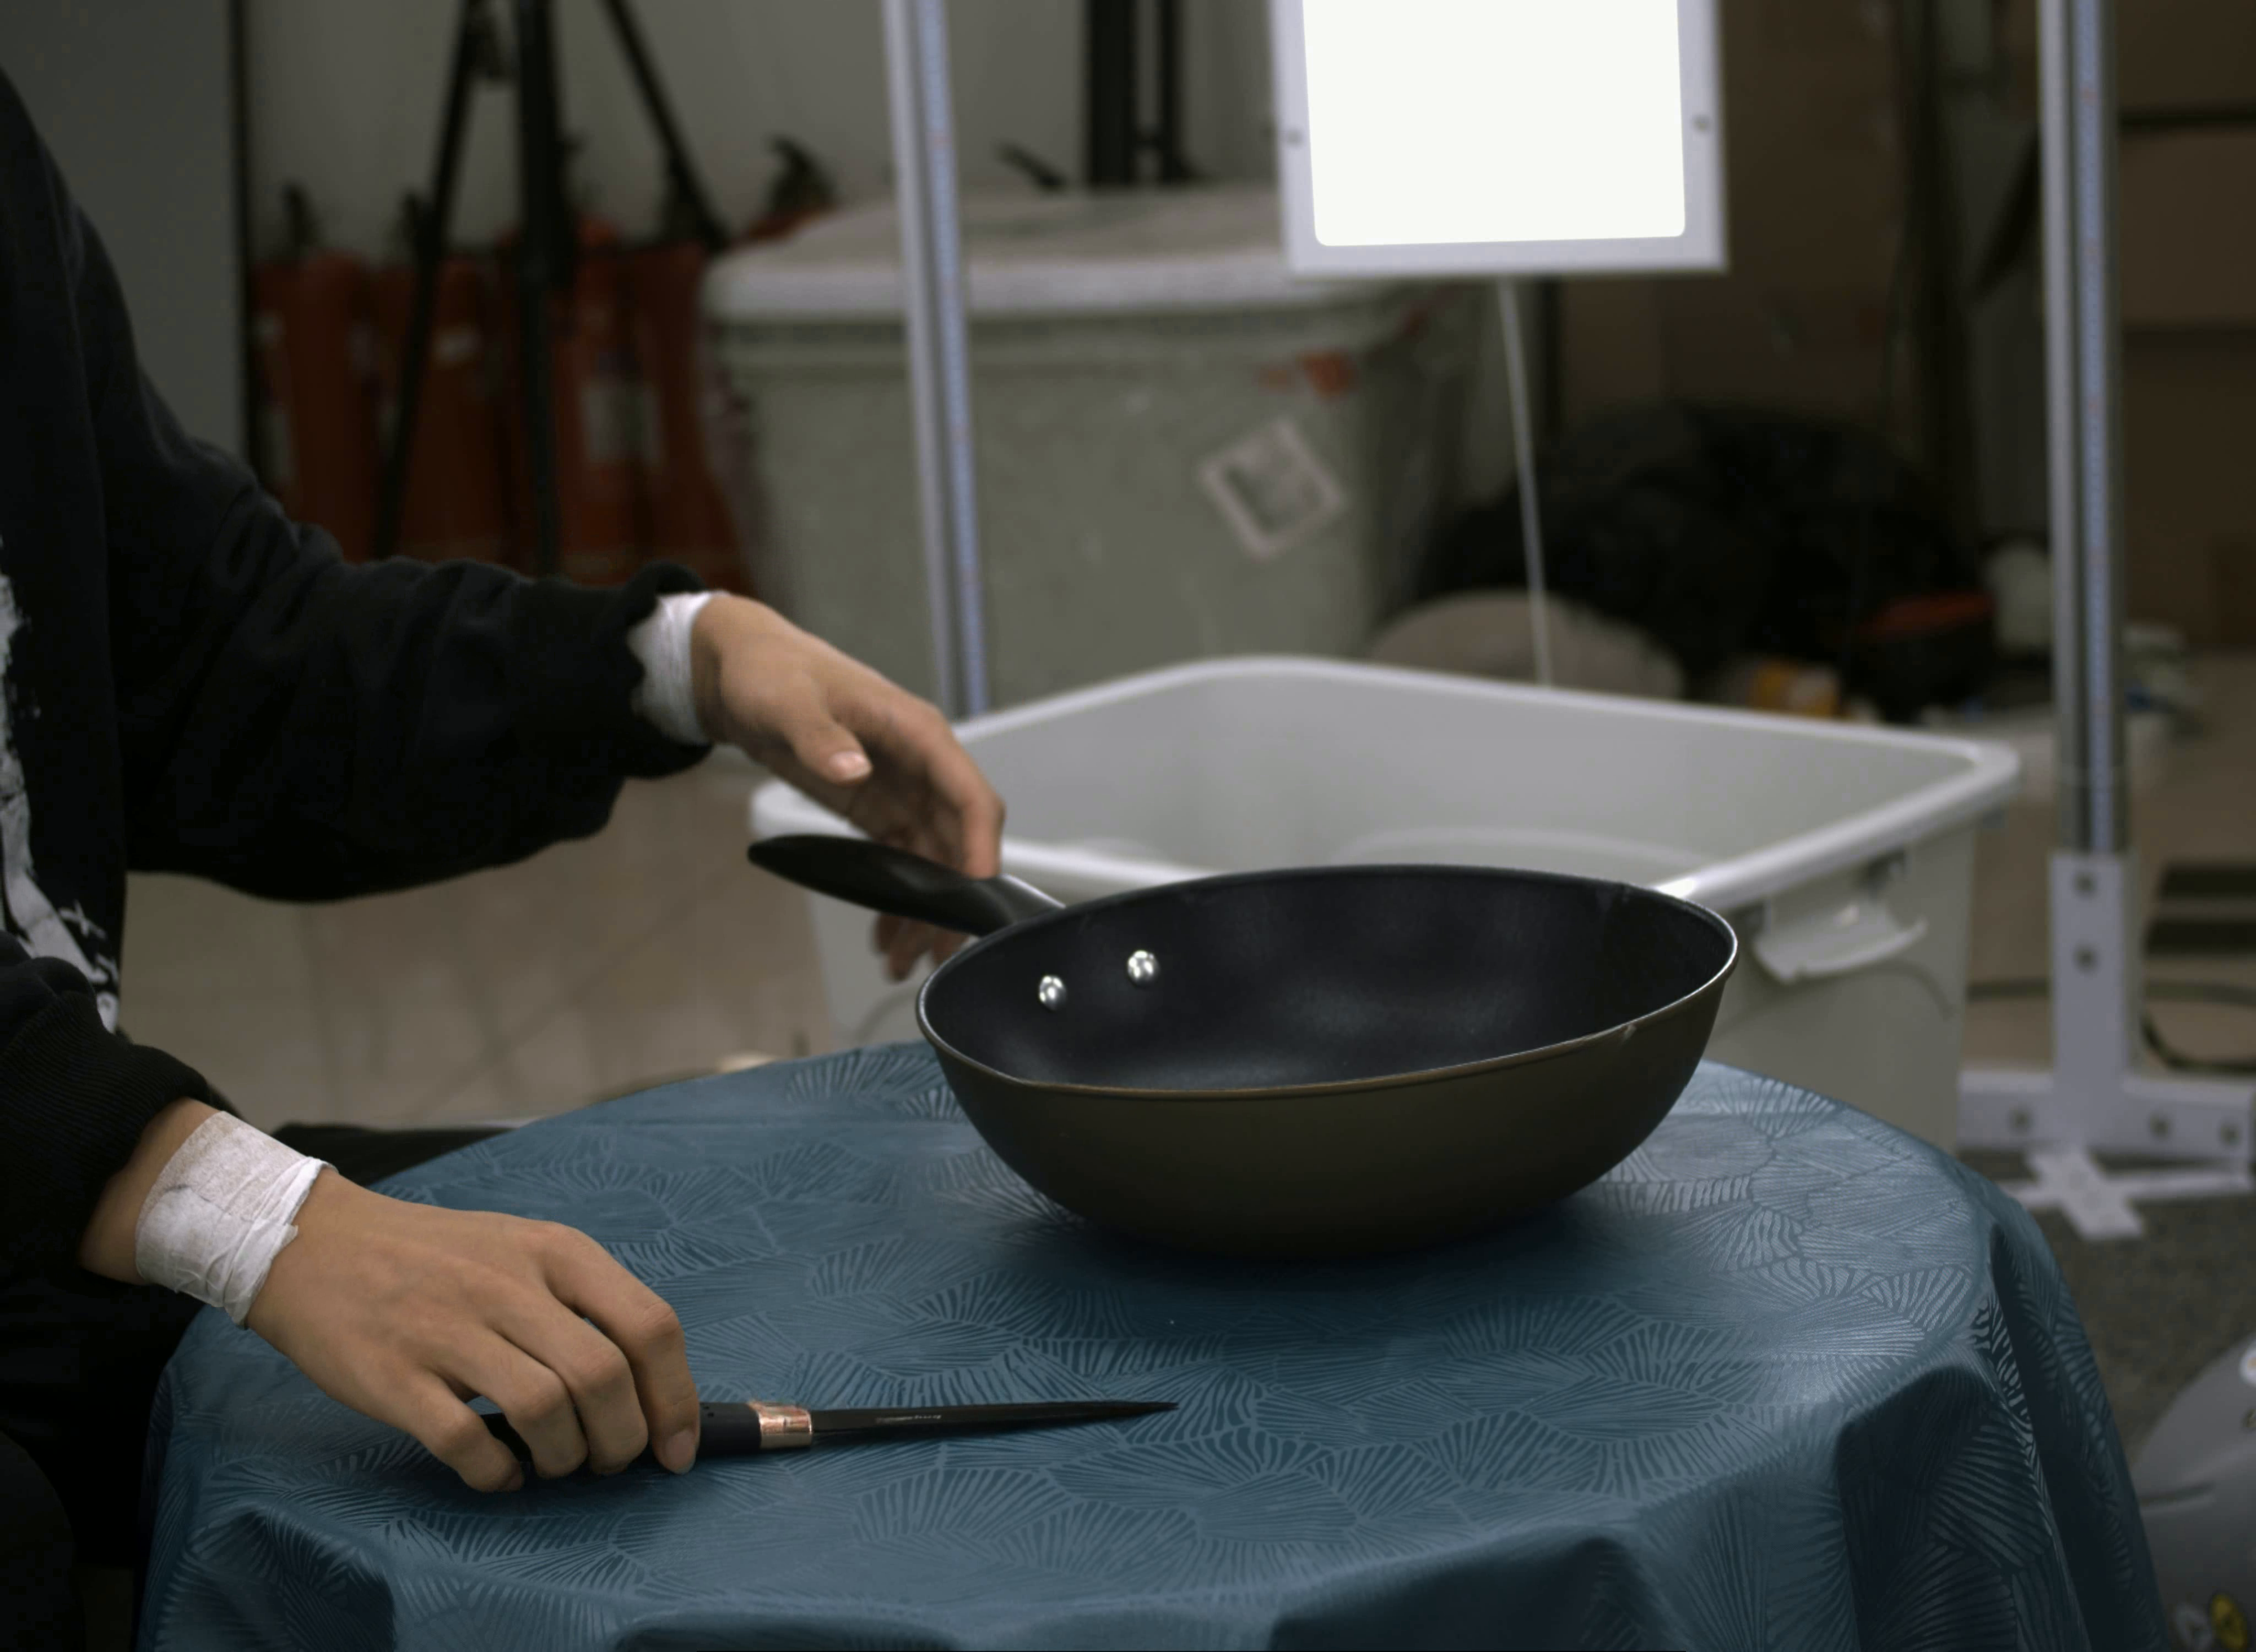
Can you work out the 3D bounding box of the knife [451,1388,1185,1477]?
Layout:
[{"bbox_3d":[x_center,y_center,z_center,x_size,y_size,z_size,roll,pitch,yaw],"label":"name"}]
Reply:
[{"bbox_3d":[-0.094,0.183,1.686,0.225,0.017,0.026,-4,1,0],"label":"knife"}]

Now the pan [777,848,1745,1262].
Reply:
[{"bbox_3d":[0.014,0.075,1.937,0.281,0.087,0.473,-15,16,-36],"label":"pan"}]
